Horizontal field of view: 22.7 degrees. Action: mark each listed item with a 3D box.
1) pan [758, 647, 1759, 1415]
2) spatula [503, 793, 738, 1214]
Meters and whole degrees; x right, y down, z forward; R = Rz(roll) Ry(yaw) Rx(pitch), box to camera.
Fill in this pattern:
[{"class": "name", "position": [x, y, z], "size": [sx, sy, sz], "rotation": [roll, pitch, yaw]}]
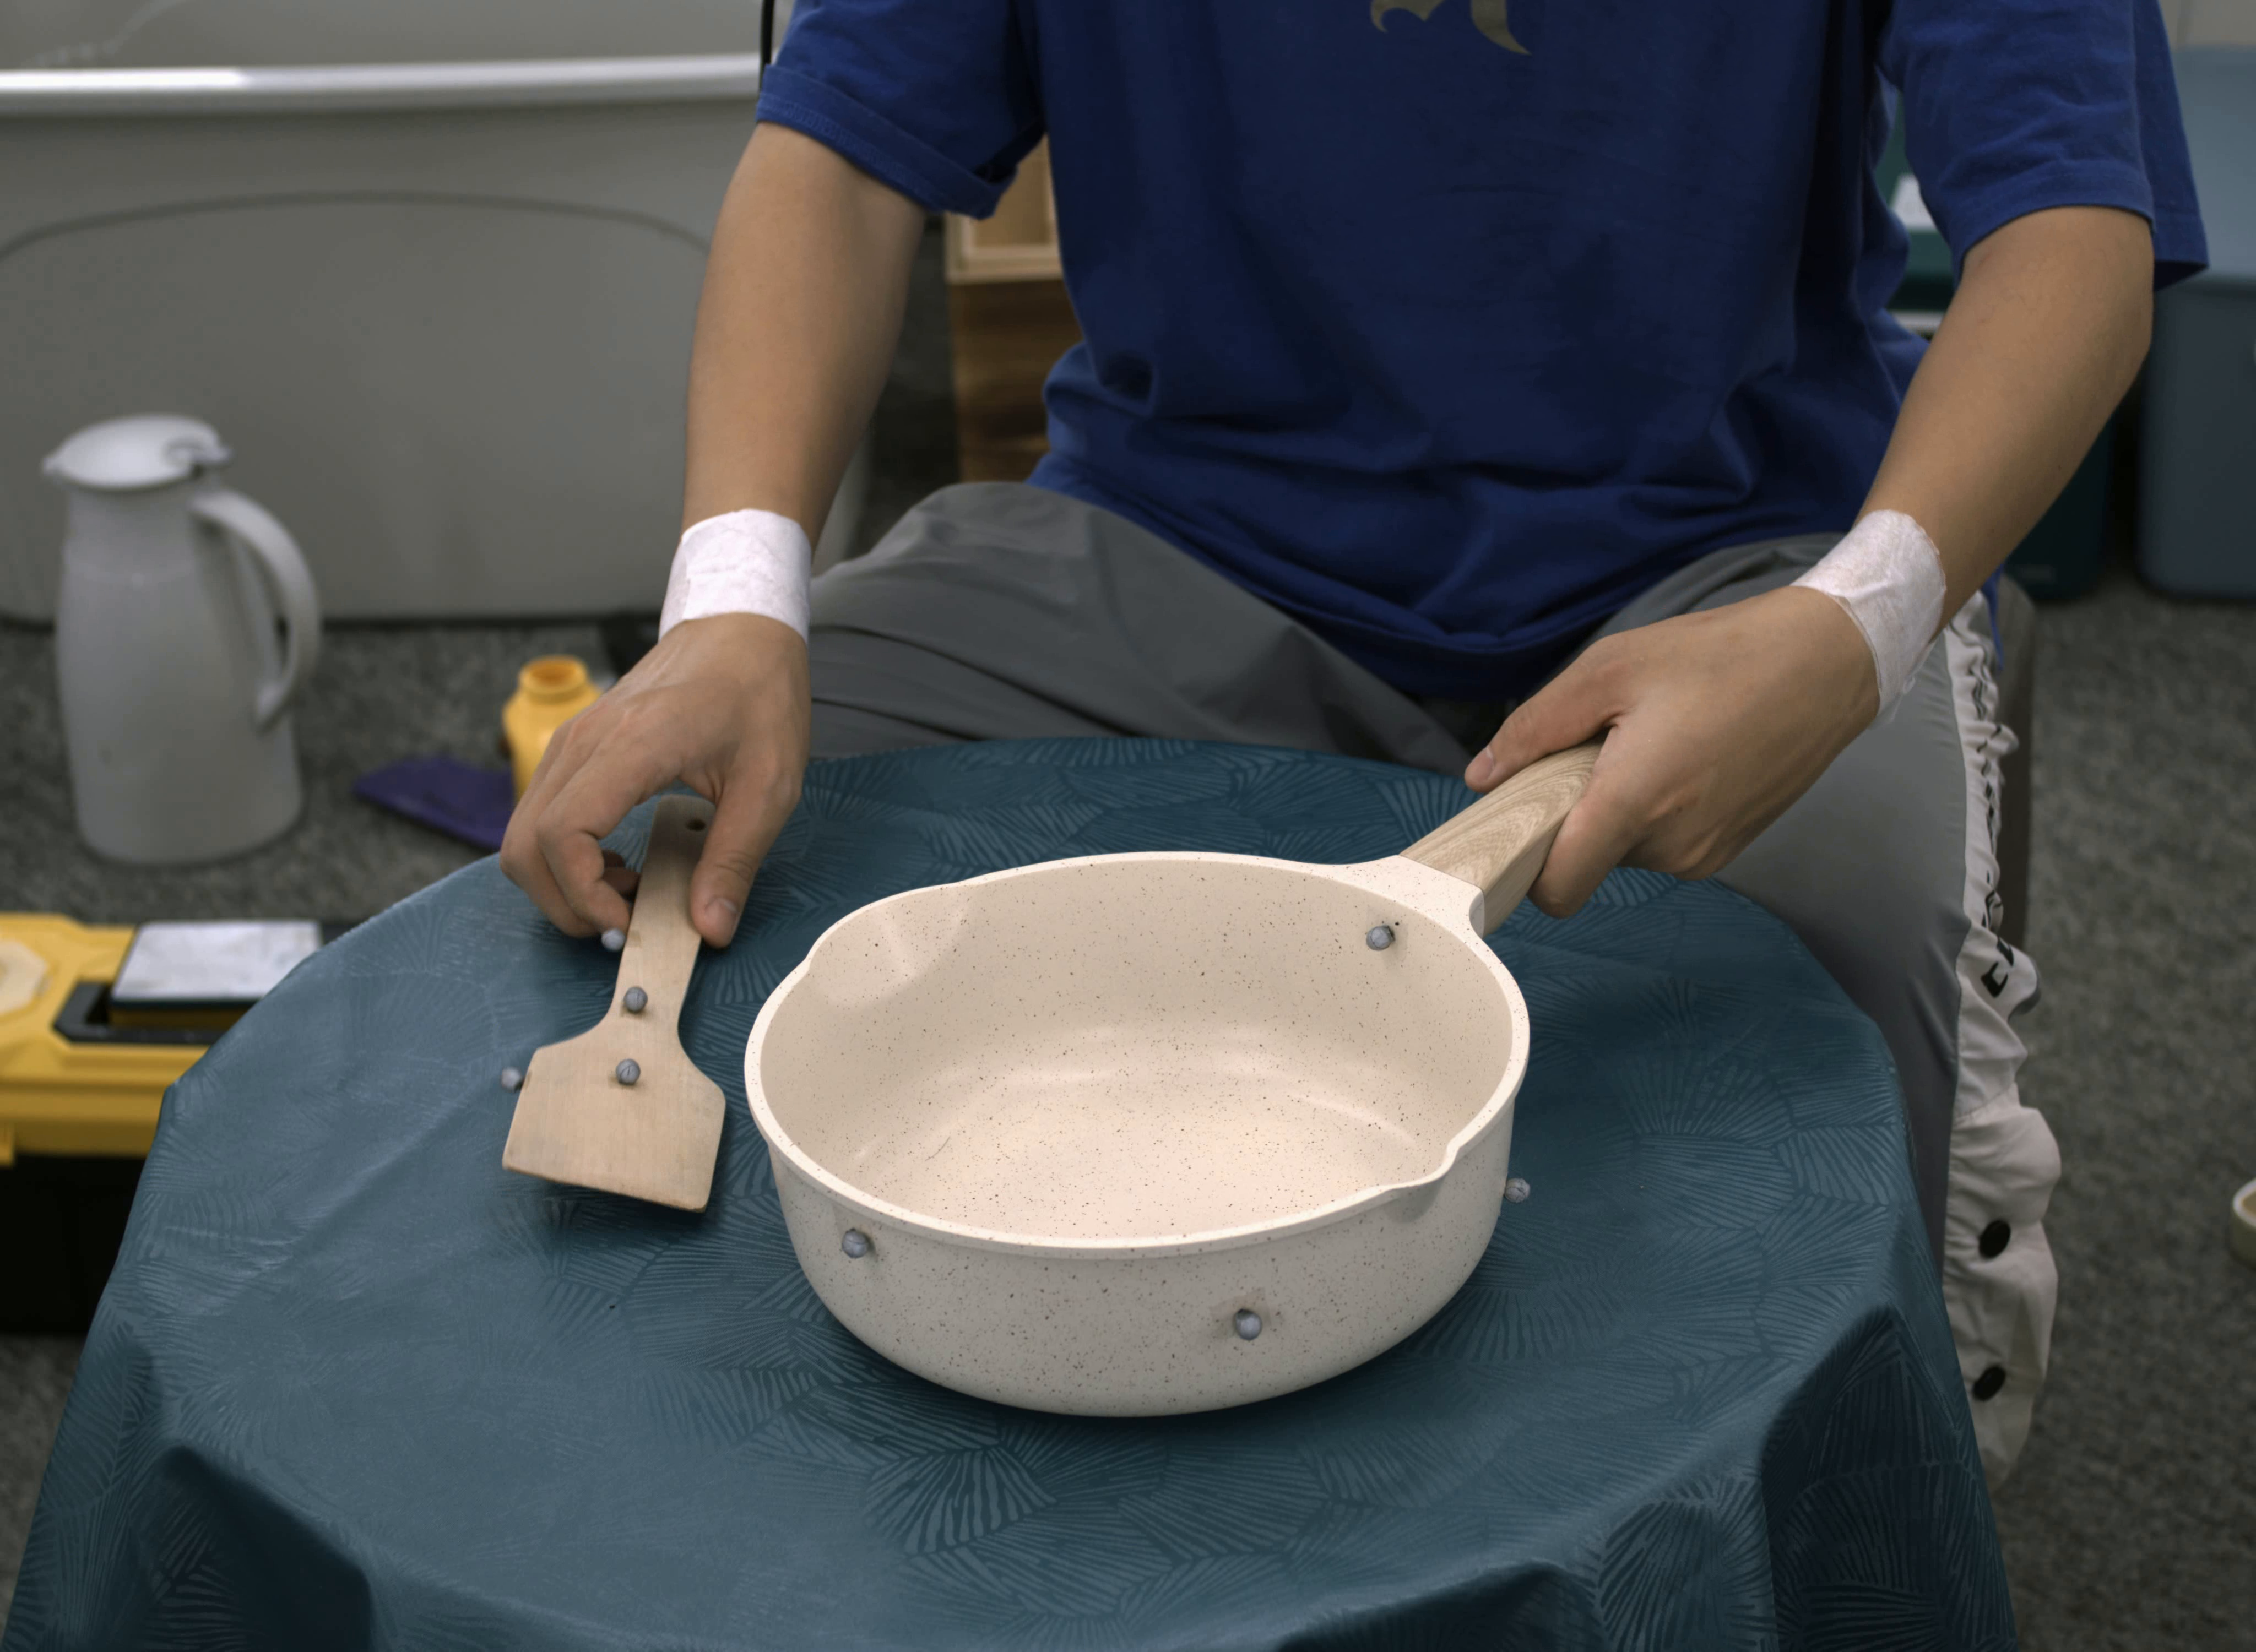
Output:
[{"class": "pan", "position": [0.072, 0.063, 1.860], "size": [0.262, 0.101, 0.440], "rotation": [19, 34, 40]}, {"class": "spatula", "position": [-0.167, 0.057, 1.979], "size": [0.072, 0.010, 0.297], "rotation": [11, 27, -3]}]
